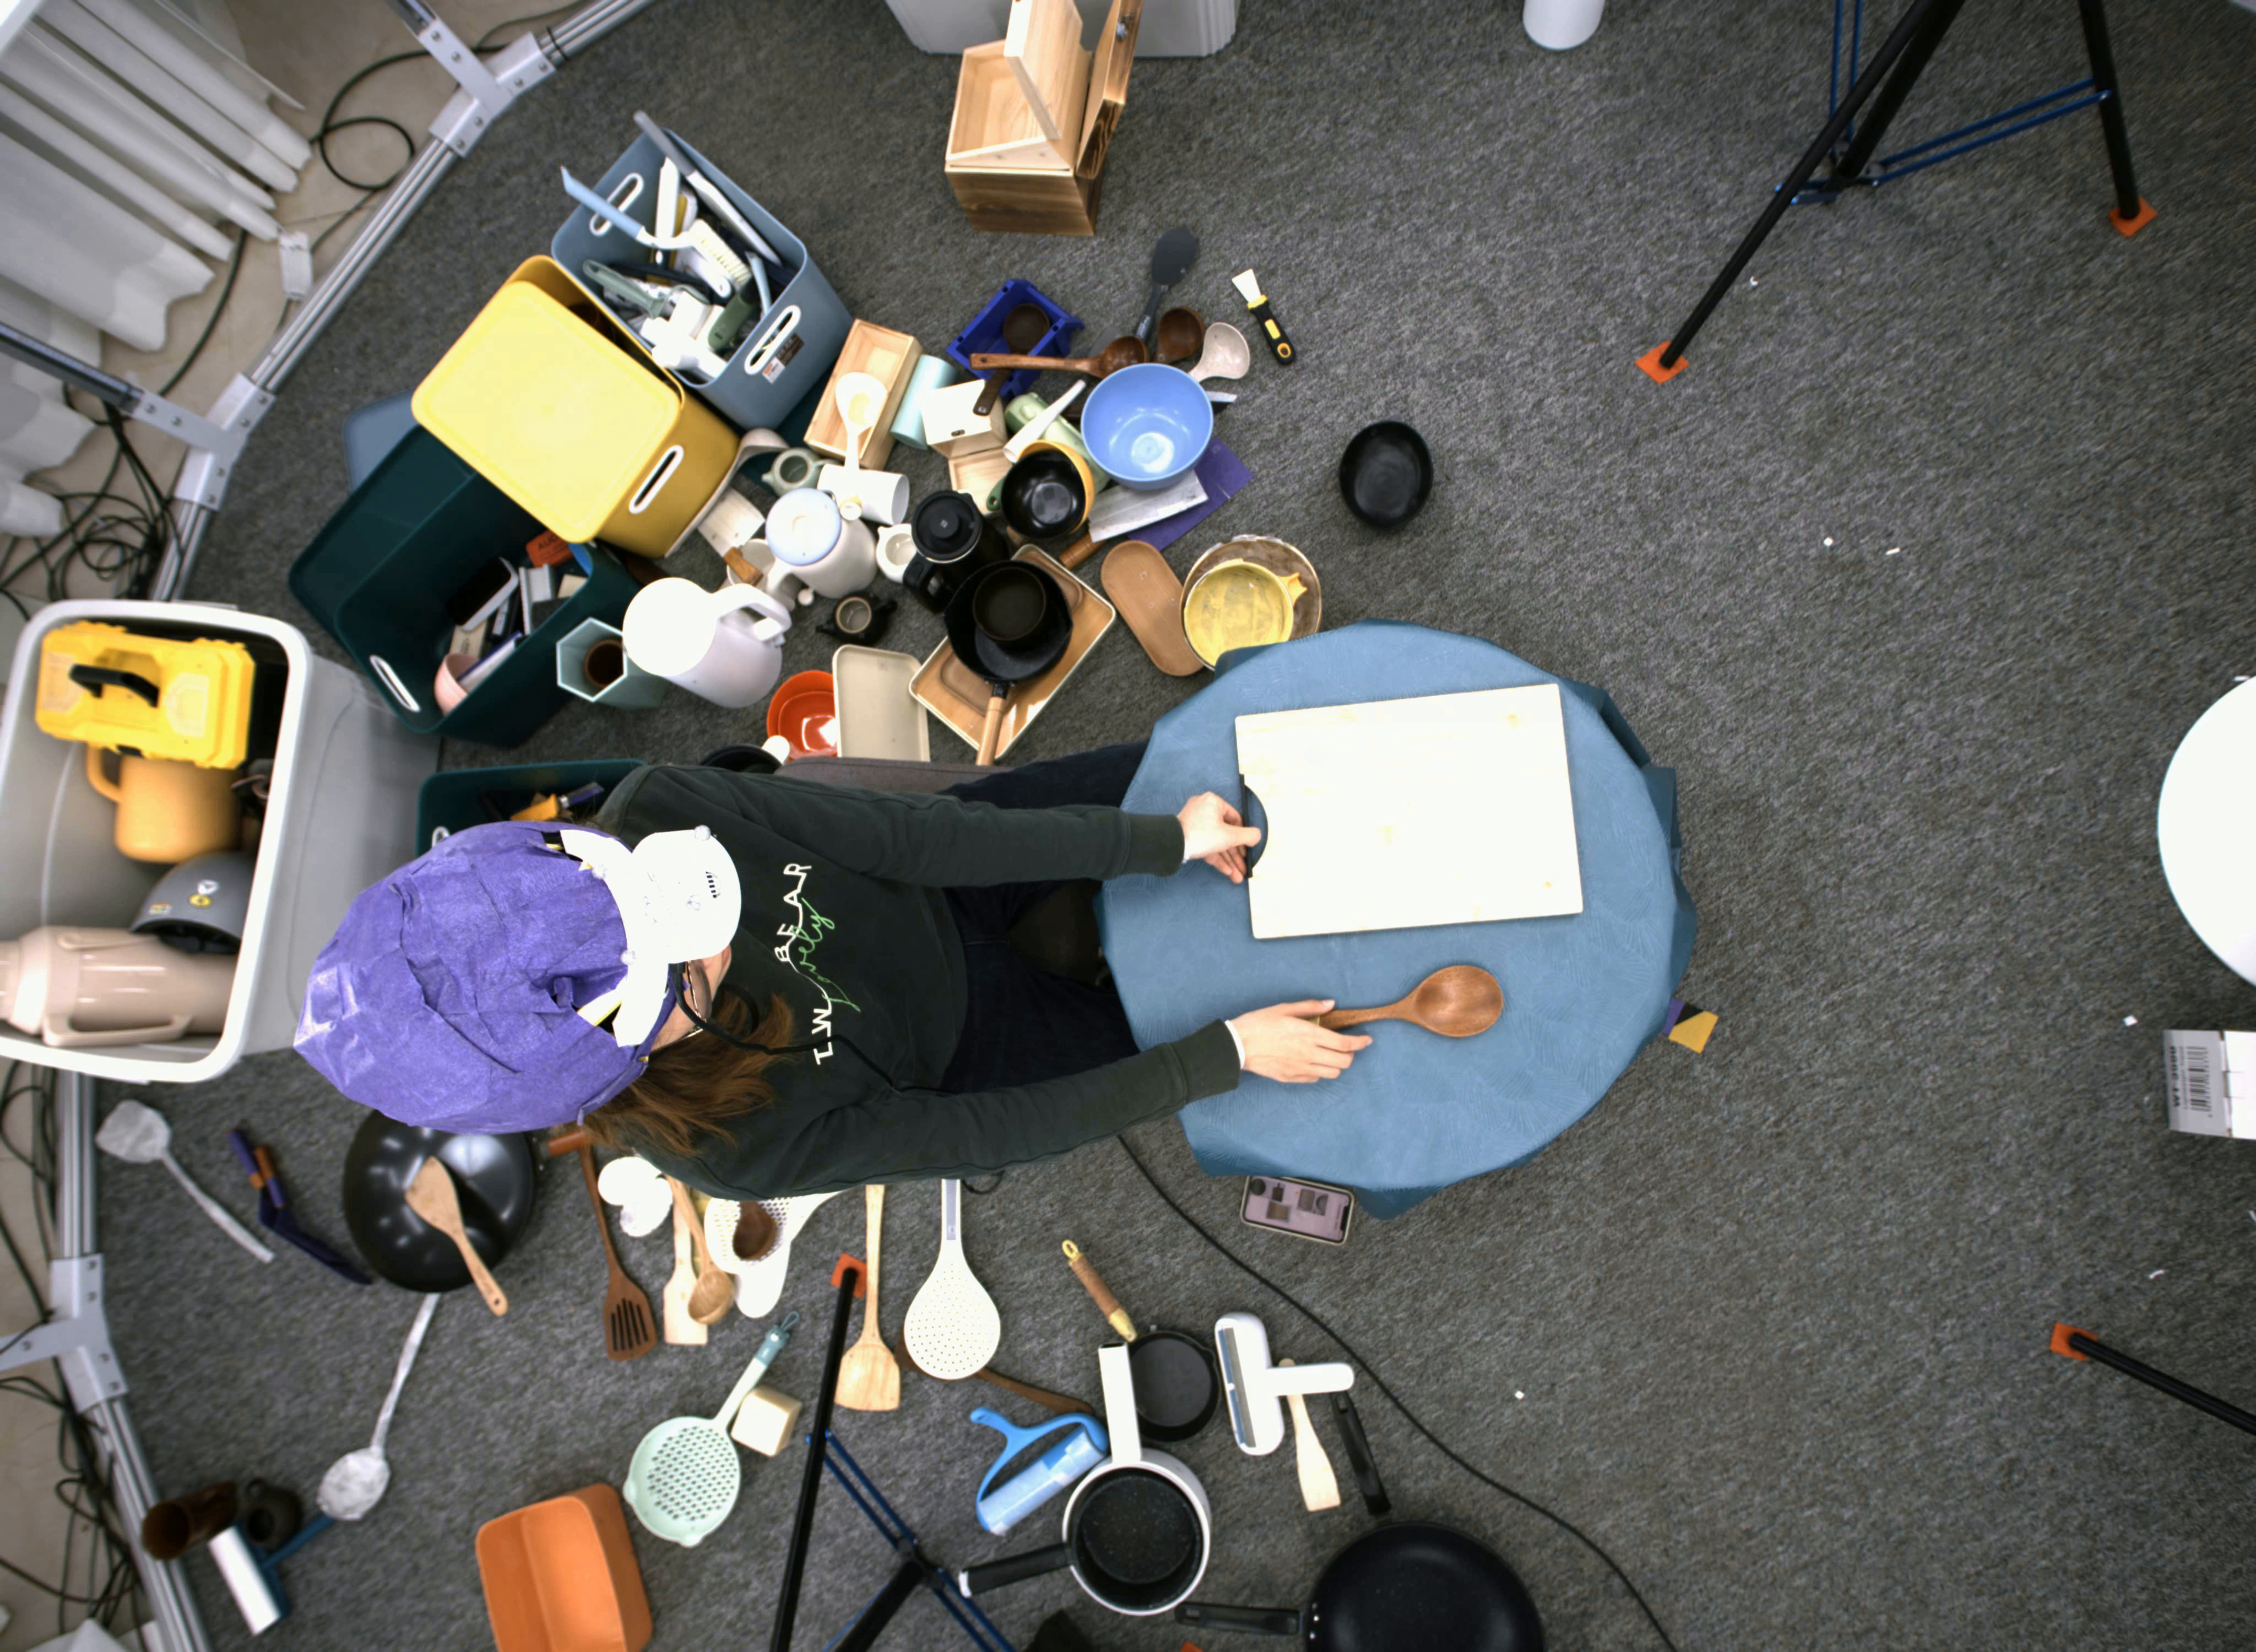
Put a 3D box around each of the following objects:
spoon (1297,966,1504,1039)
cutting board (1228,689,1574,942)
[{"bbox_3d":[0.283,0.193,1.445,0.217,0.017,0.075,-10,86,9],"label":"spoon"},{"bbox_3d":[0.288,-0.012,1.459,0.350,0.023,0.249,-6,84,10],"label":"cutting board"}]
